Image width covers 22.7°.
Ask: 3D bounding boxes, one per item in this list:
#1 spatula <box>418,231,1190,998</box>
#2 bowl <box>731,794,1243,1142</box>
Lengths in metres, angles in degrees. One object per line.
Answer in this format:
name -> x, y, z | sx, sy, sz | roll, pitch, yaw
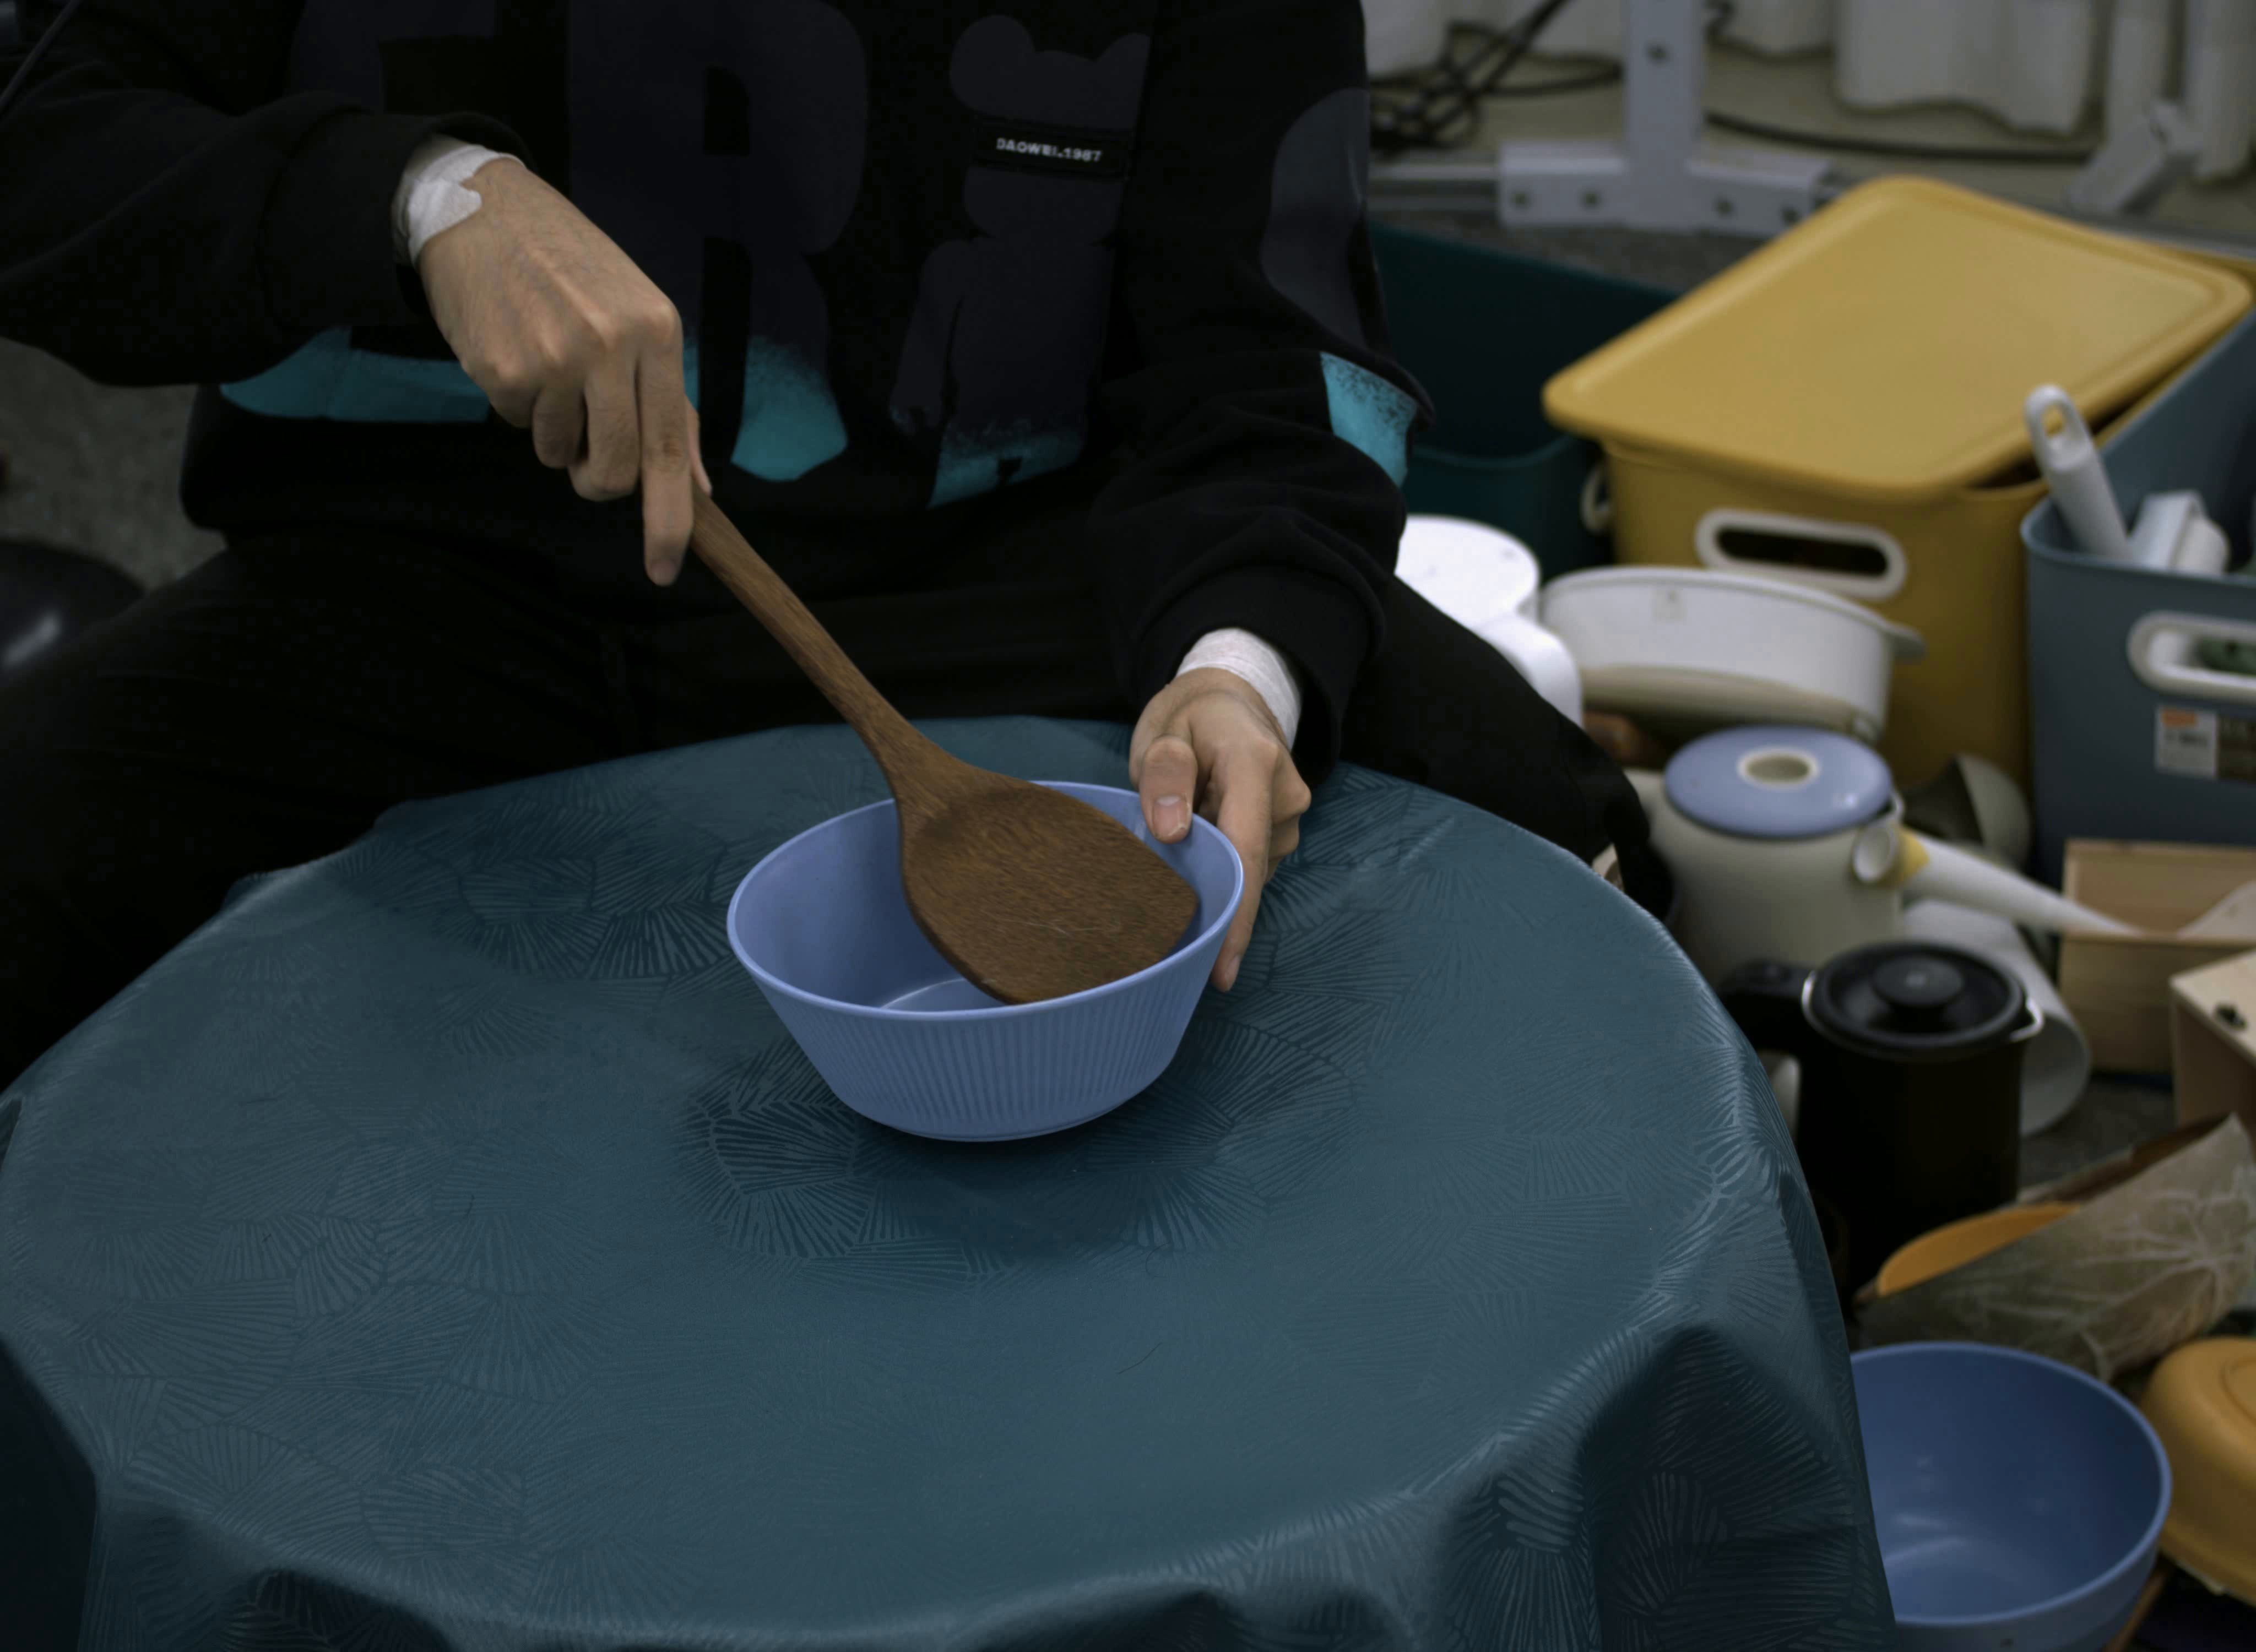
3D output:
spatula -> -0.127, -0.080, 1.968 | 0.097, 0.015, 0.388 | -28, 67, -37
bowl -> -0.045, 0.053, 1.913 | 0.175, 0.069, 0.178 | -4, 23, 2
